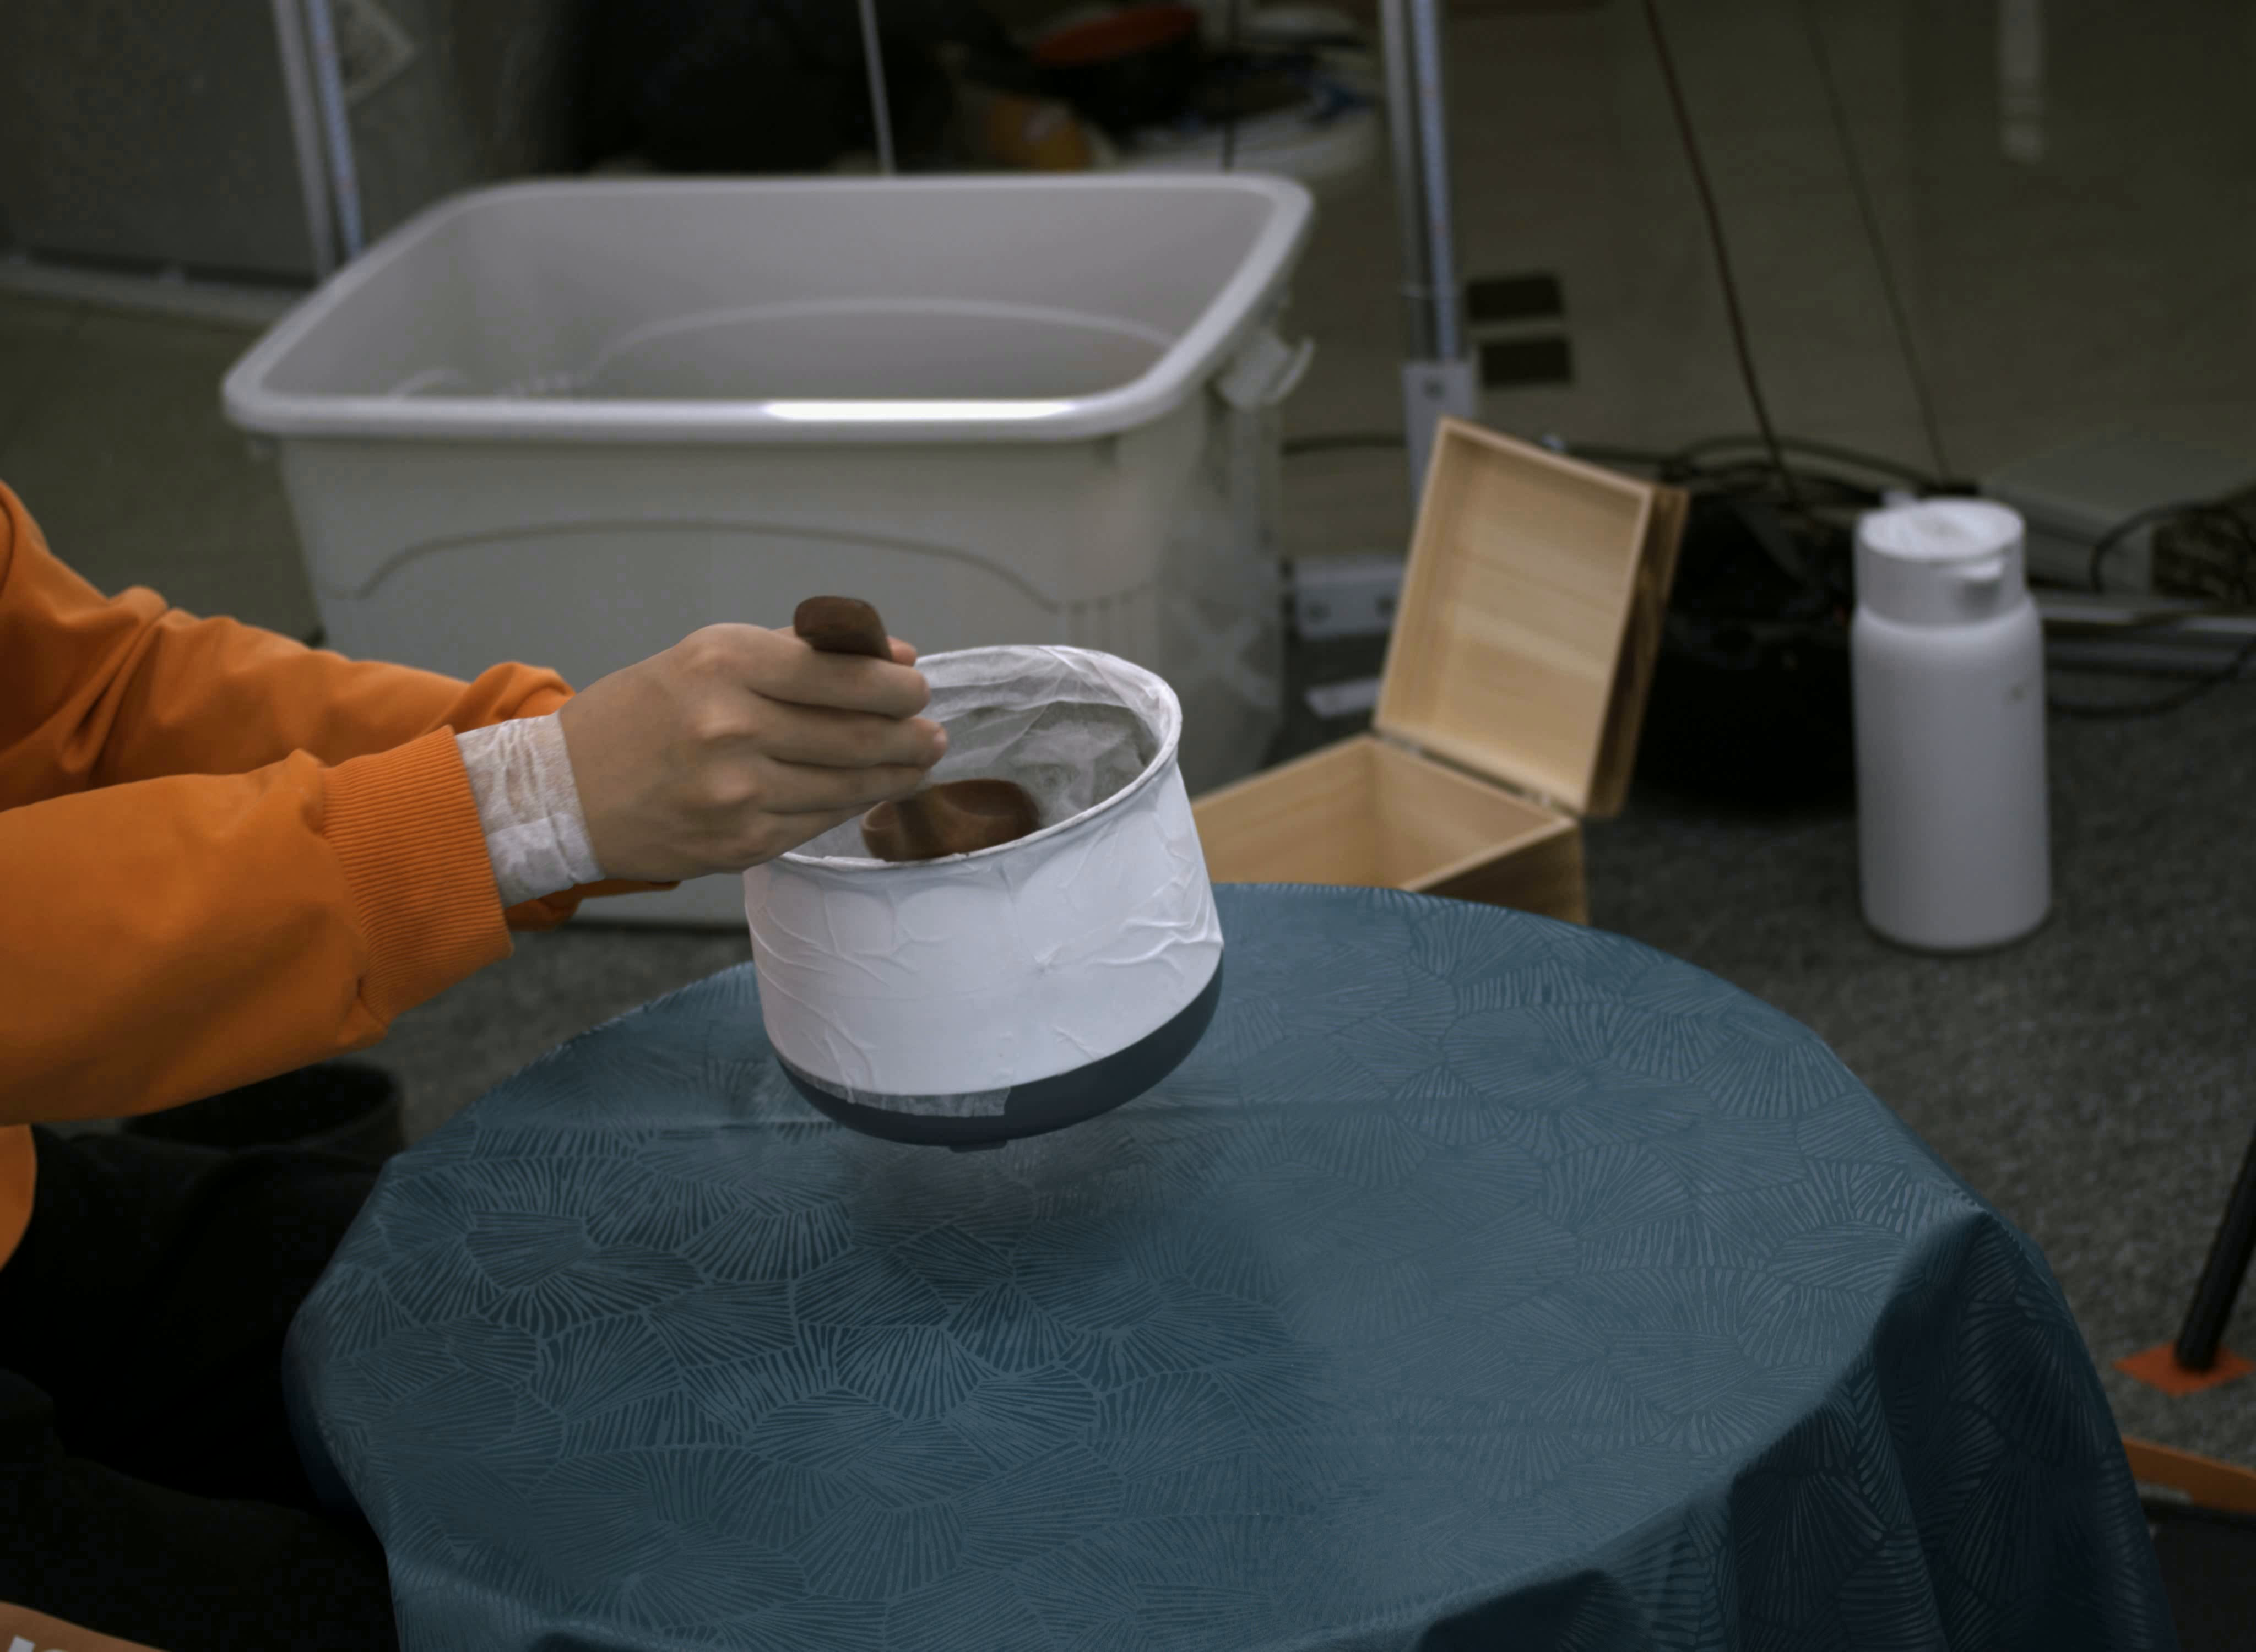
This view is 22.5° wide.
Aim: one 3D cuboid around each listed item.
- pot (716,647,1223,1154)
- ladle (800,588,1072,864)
[{"bbox_3d":[-0.074,0.021,2.148,0.177,0.139,0.231,-27,32,-30],"label":"pot"},{"bbox_3d":[-0.077,-0.042,1.995,0.076,0.264,0.064,-11,63,7],"label":"ladle"}]
